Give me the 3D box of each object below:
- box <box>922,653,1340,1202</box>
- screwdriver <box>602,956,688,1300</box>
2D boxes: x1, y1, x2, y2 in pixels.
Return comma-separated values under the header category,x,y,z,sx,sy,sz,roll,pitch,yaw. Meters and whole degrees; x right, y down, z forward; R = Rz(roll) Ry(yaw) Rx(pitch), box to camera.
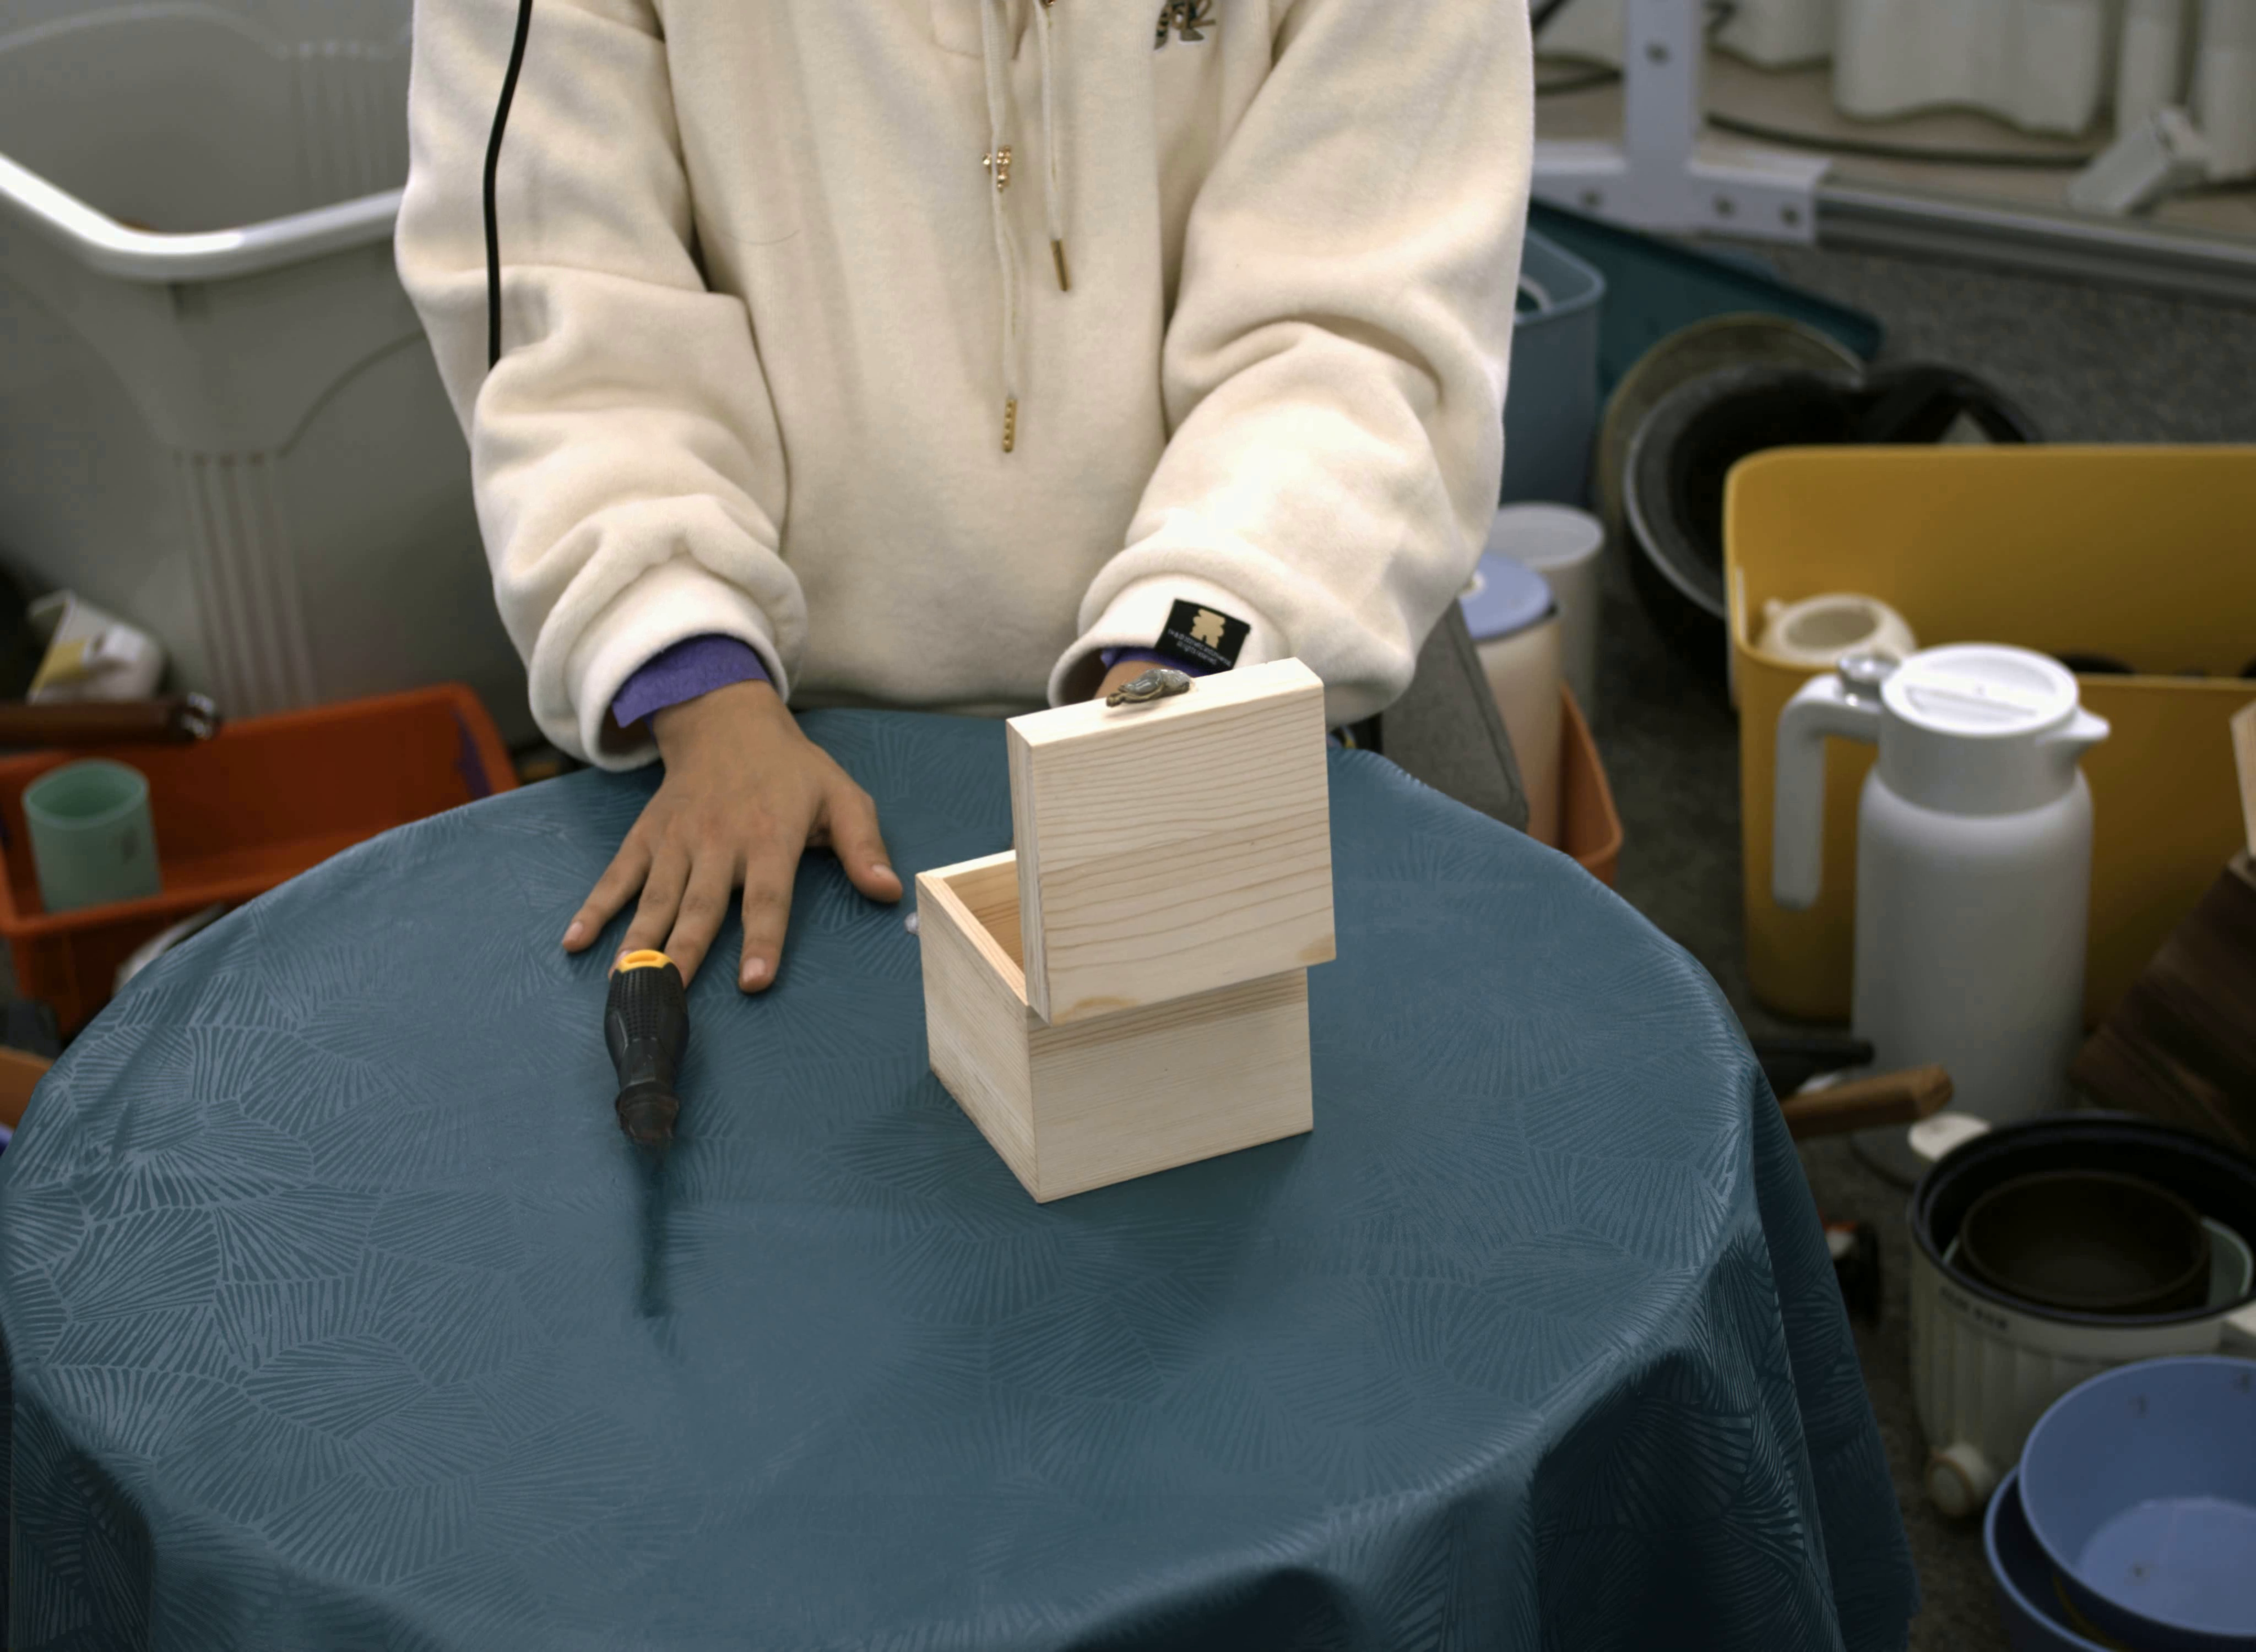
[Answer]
category,x,y,z,sx,sy,sz,roll,pitch,yaw
box,-0.002,0.016,1.867,0.103,0.182,0.135,-14,29,-20
screwdriver,-0.166,0.103,1.891,0.031,0.031,0.201,-3,30,0
